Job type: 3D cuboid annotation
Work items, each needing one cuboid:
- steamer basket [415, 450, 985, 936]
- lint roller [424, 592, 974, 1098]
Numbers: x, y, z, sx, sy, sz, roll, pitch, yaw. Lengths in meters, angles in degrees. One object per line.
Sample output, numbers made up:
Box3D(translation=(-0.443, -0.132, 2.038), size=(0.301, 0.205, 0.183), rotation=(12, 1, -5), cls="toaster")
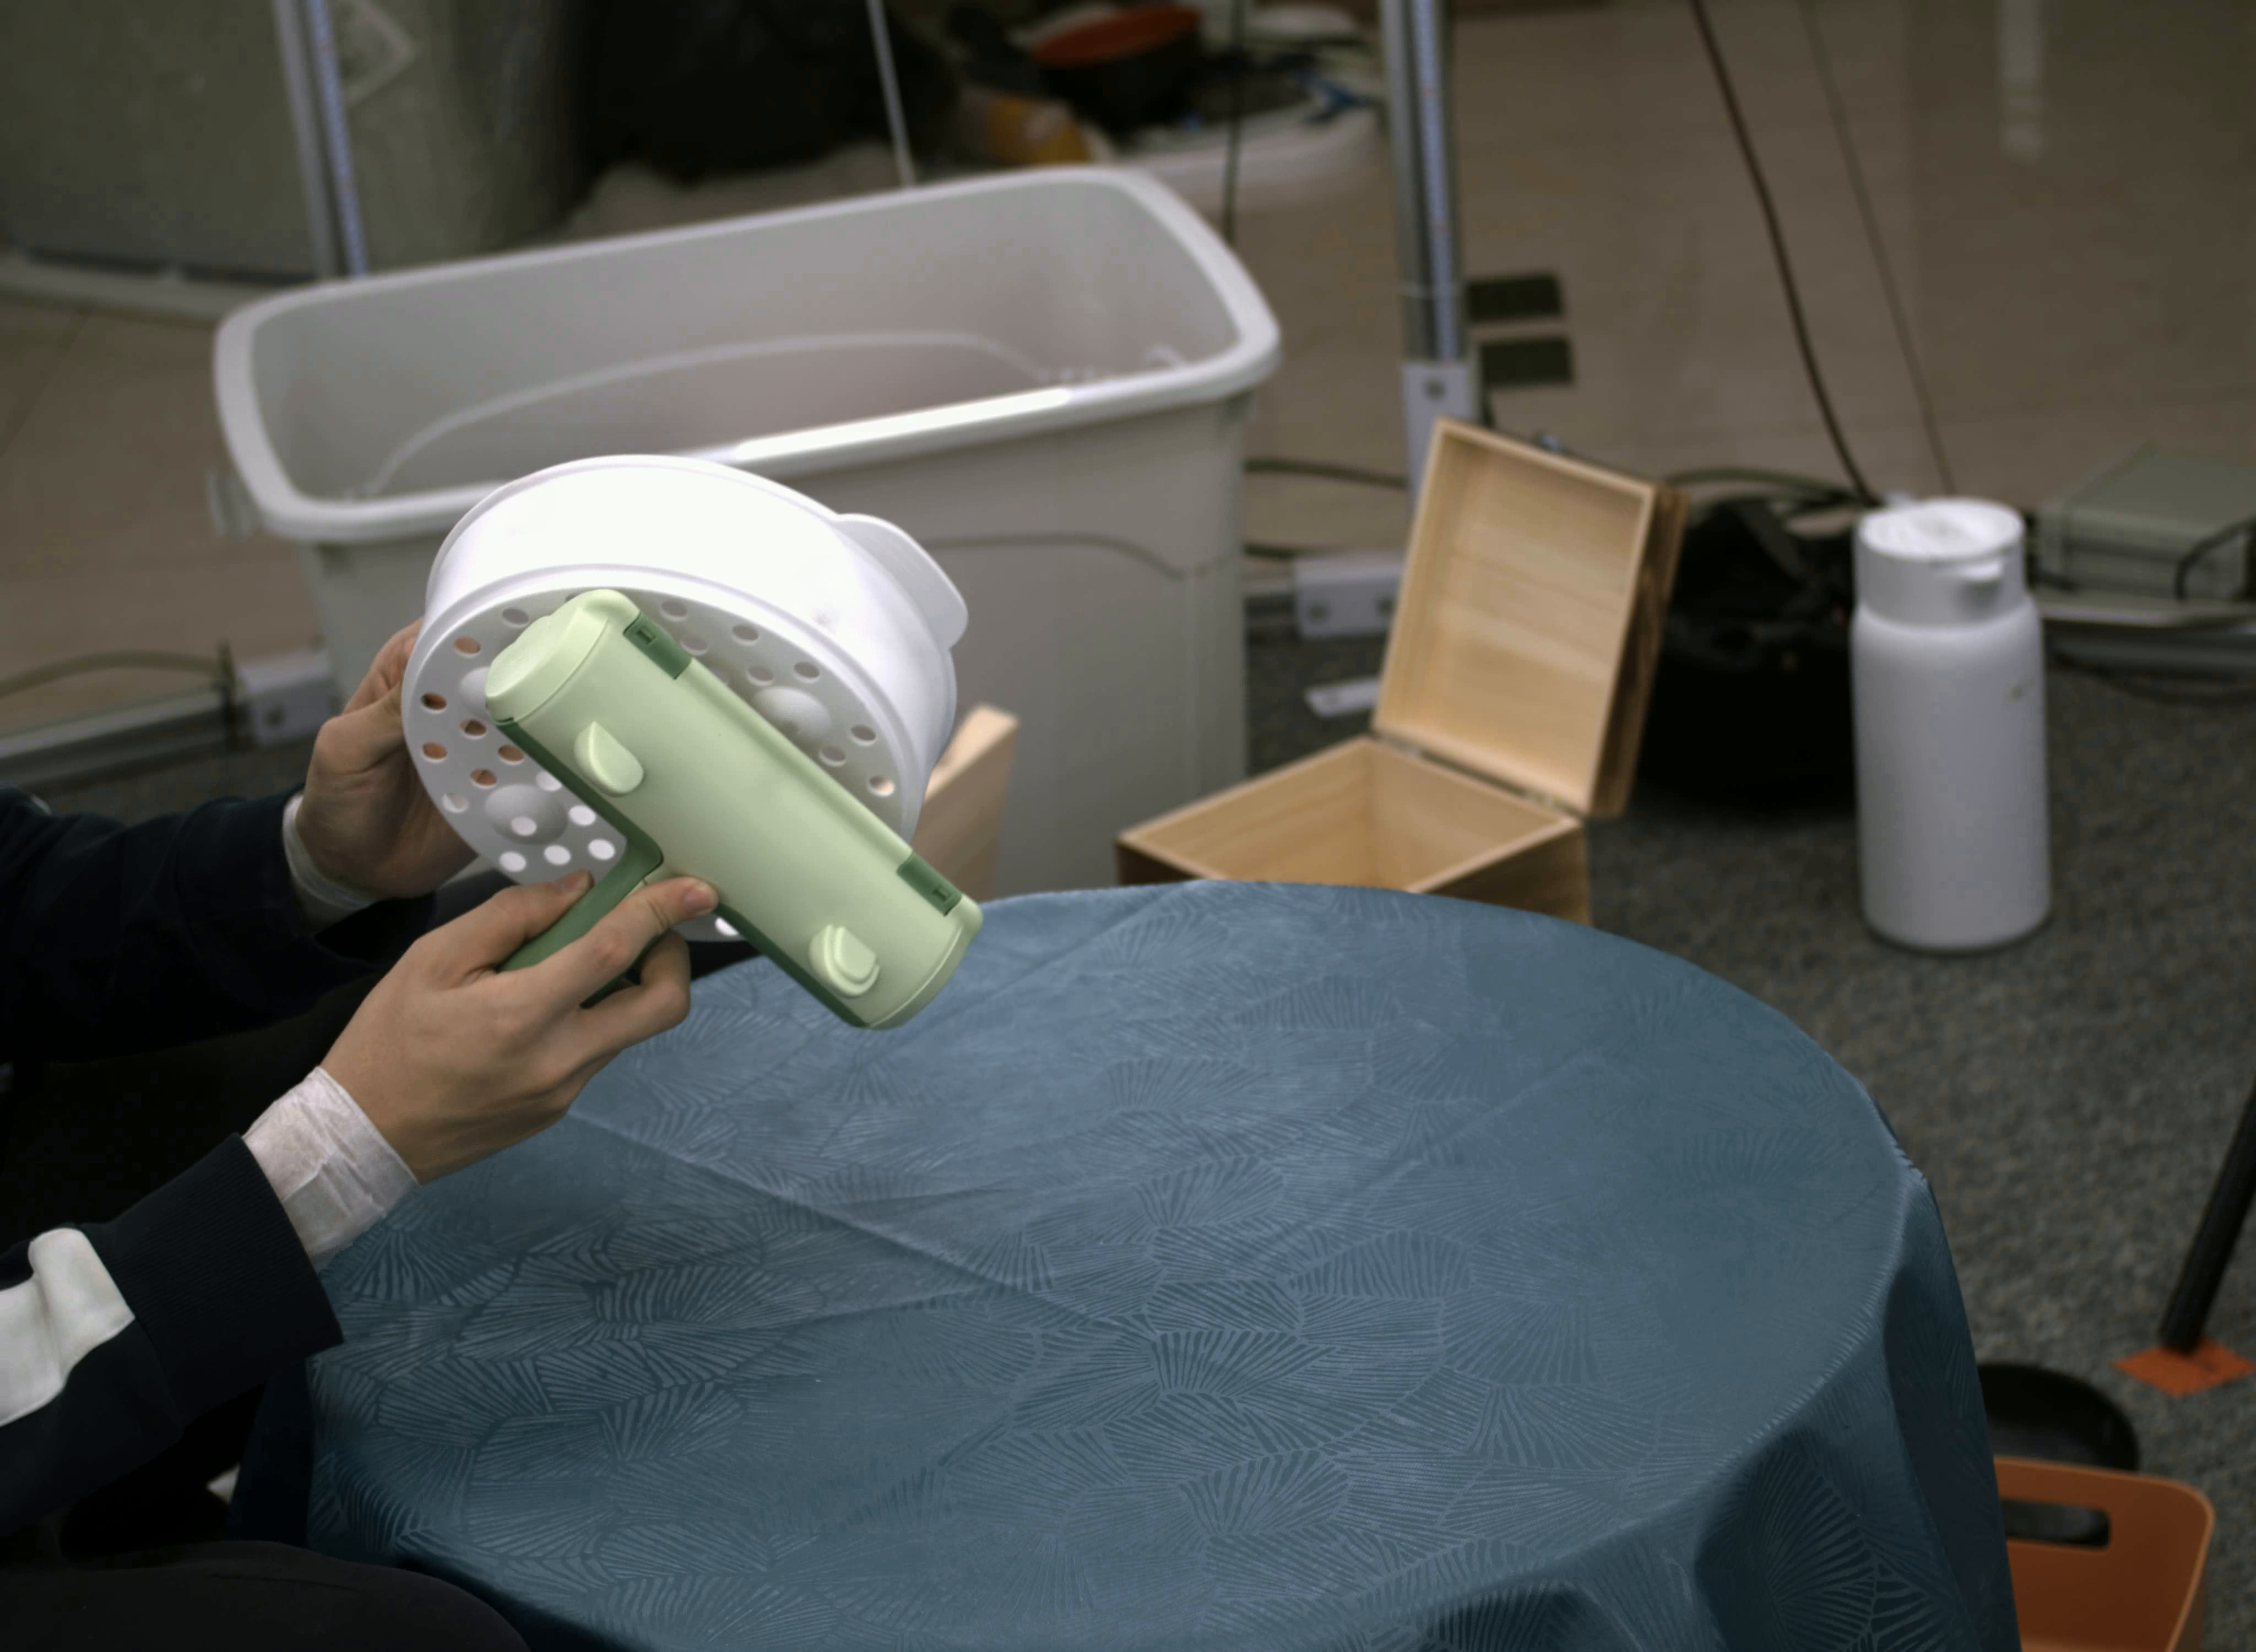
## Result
Box3D(translation=(-0.161, -0.044, 2.065), size=(0.231, 0.205, 0.068), rotation=(-17, 41, 31), cls="steamer basket")
Box3D(translation=(-0.181, 0.040, 2.017), size=(0.184, 0.200, 0.081), rotation=(-45, 24, 5), cls="lint roller")
